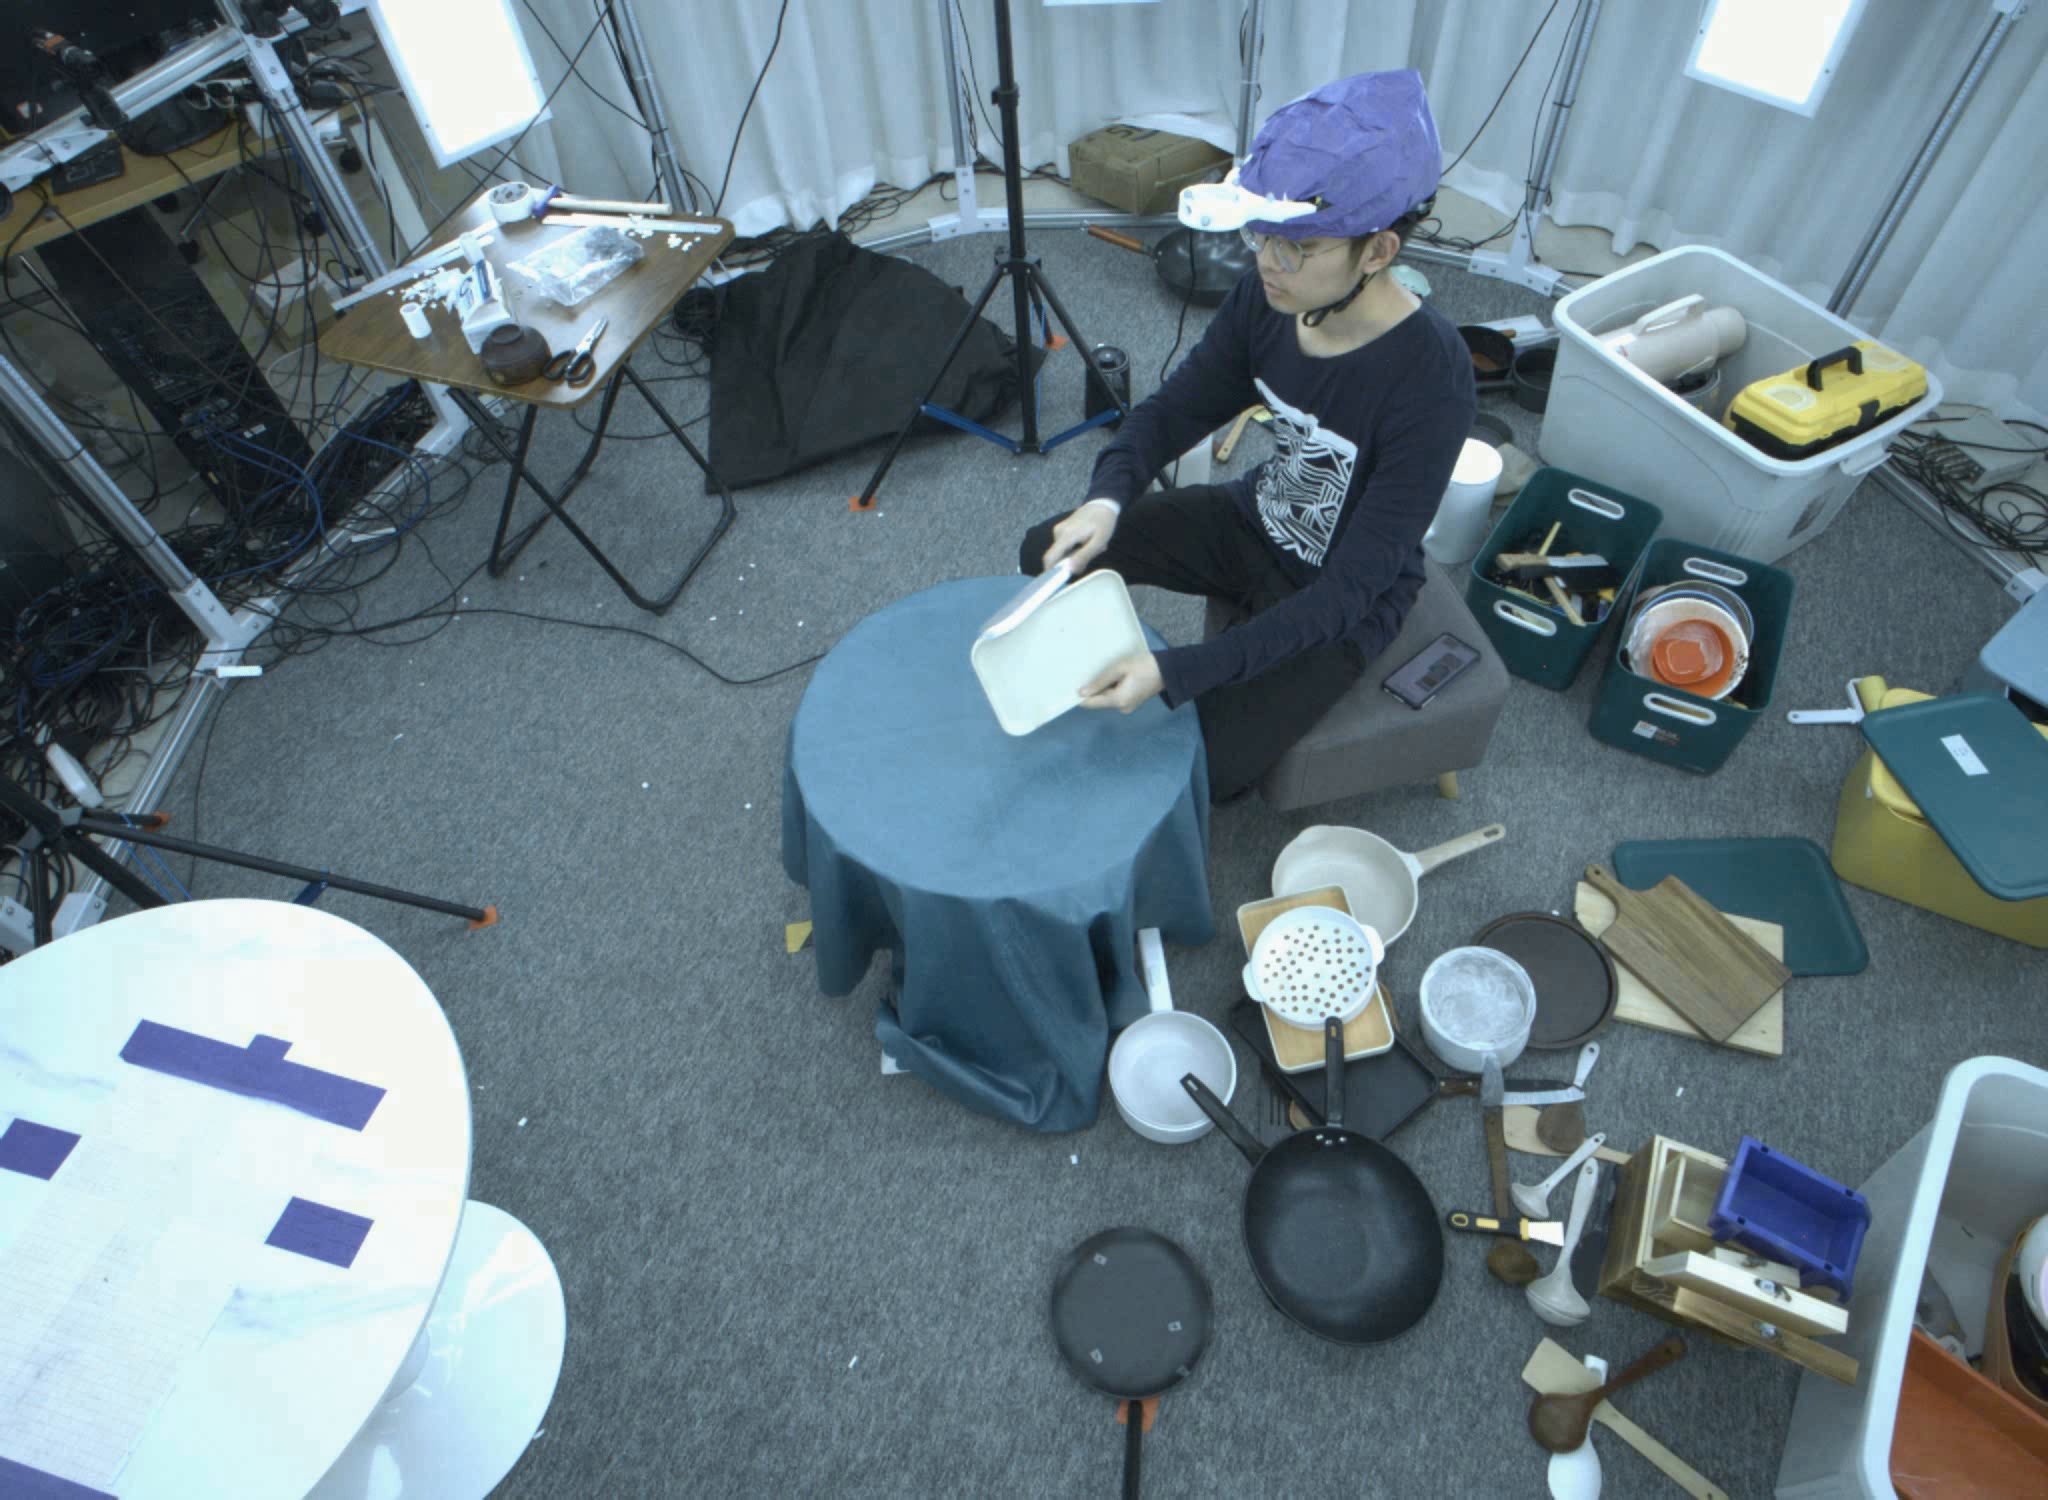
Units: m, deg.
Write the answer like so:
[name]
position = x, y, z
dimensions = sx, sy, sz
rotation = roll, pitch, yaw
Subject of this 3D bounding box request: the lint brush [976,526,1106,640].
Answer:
[lint brush]
position = 0.031, -0.235, 1.692
dimensions = 0.059, 0.021, 0.311
rotation = -16, 23, 46

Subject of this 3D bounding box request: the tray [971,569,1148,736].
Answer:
[tray]
position = 0.050, -0.136, 1.707
dimensions = 0.240, 0.174, 0.017
rotation = -31, 35, -8
